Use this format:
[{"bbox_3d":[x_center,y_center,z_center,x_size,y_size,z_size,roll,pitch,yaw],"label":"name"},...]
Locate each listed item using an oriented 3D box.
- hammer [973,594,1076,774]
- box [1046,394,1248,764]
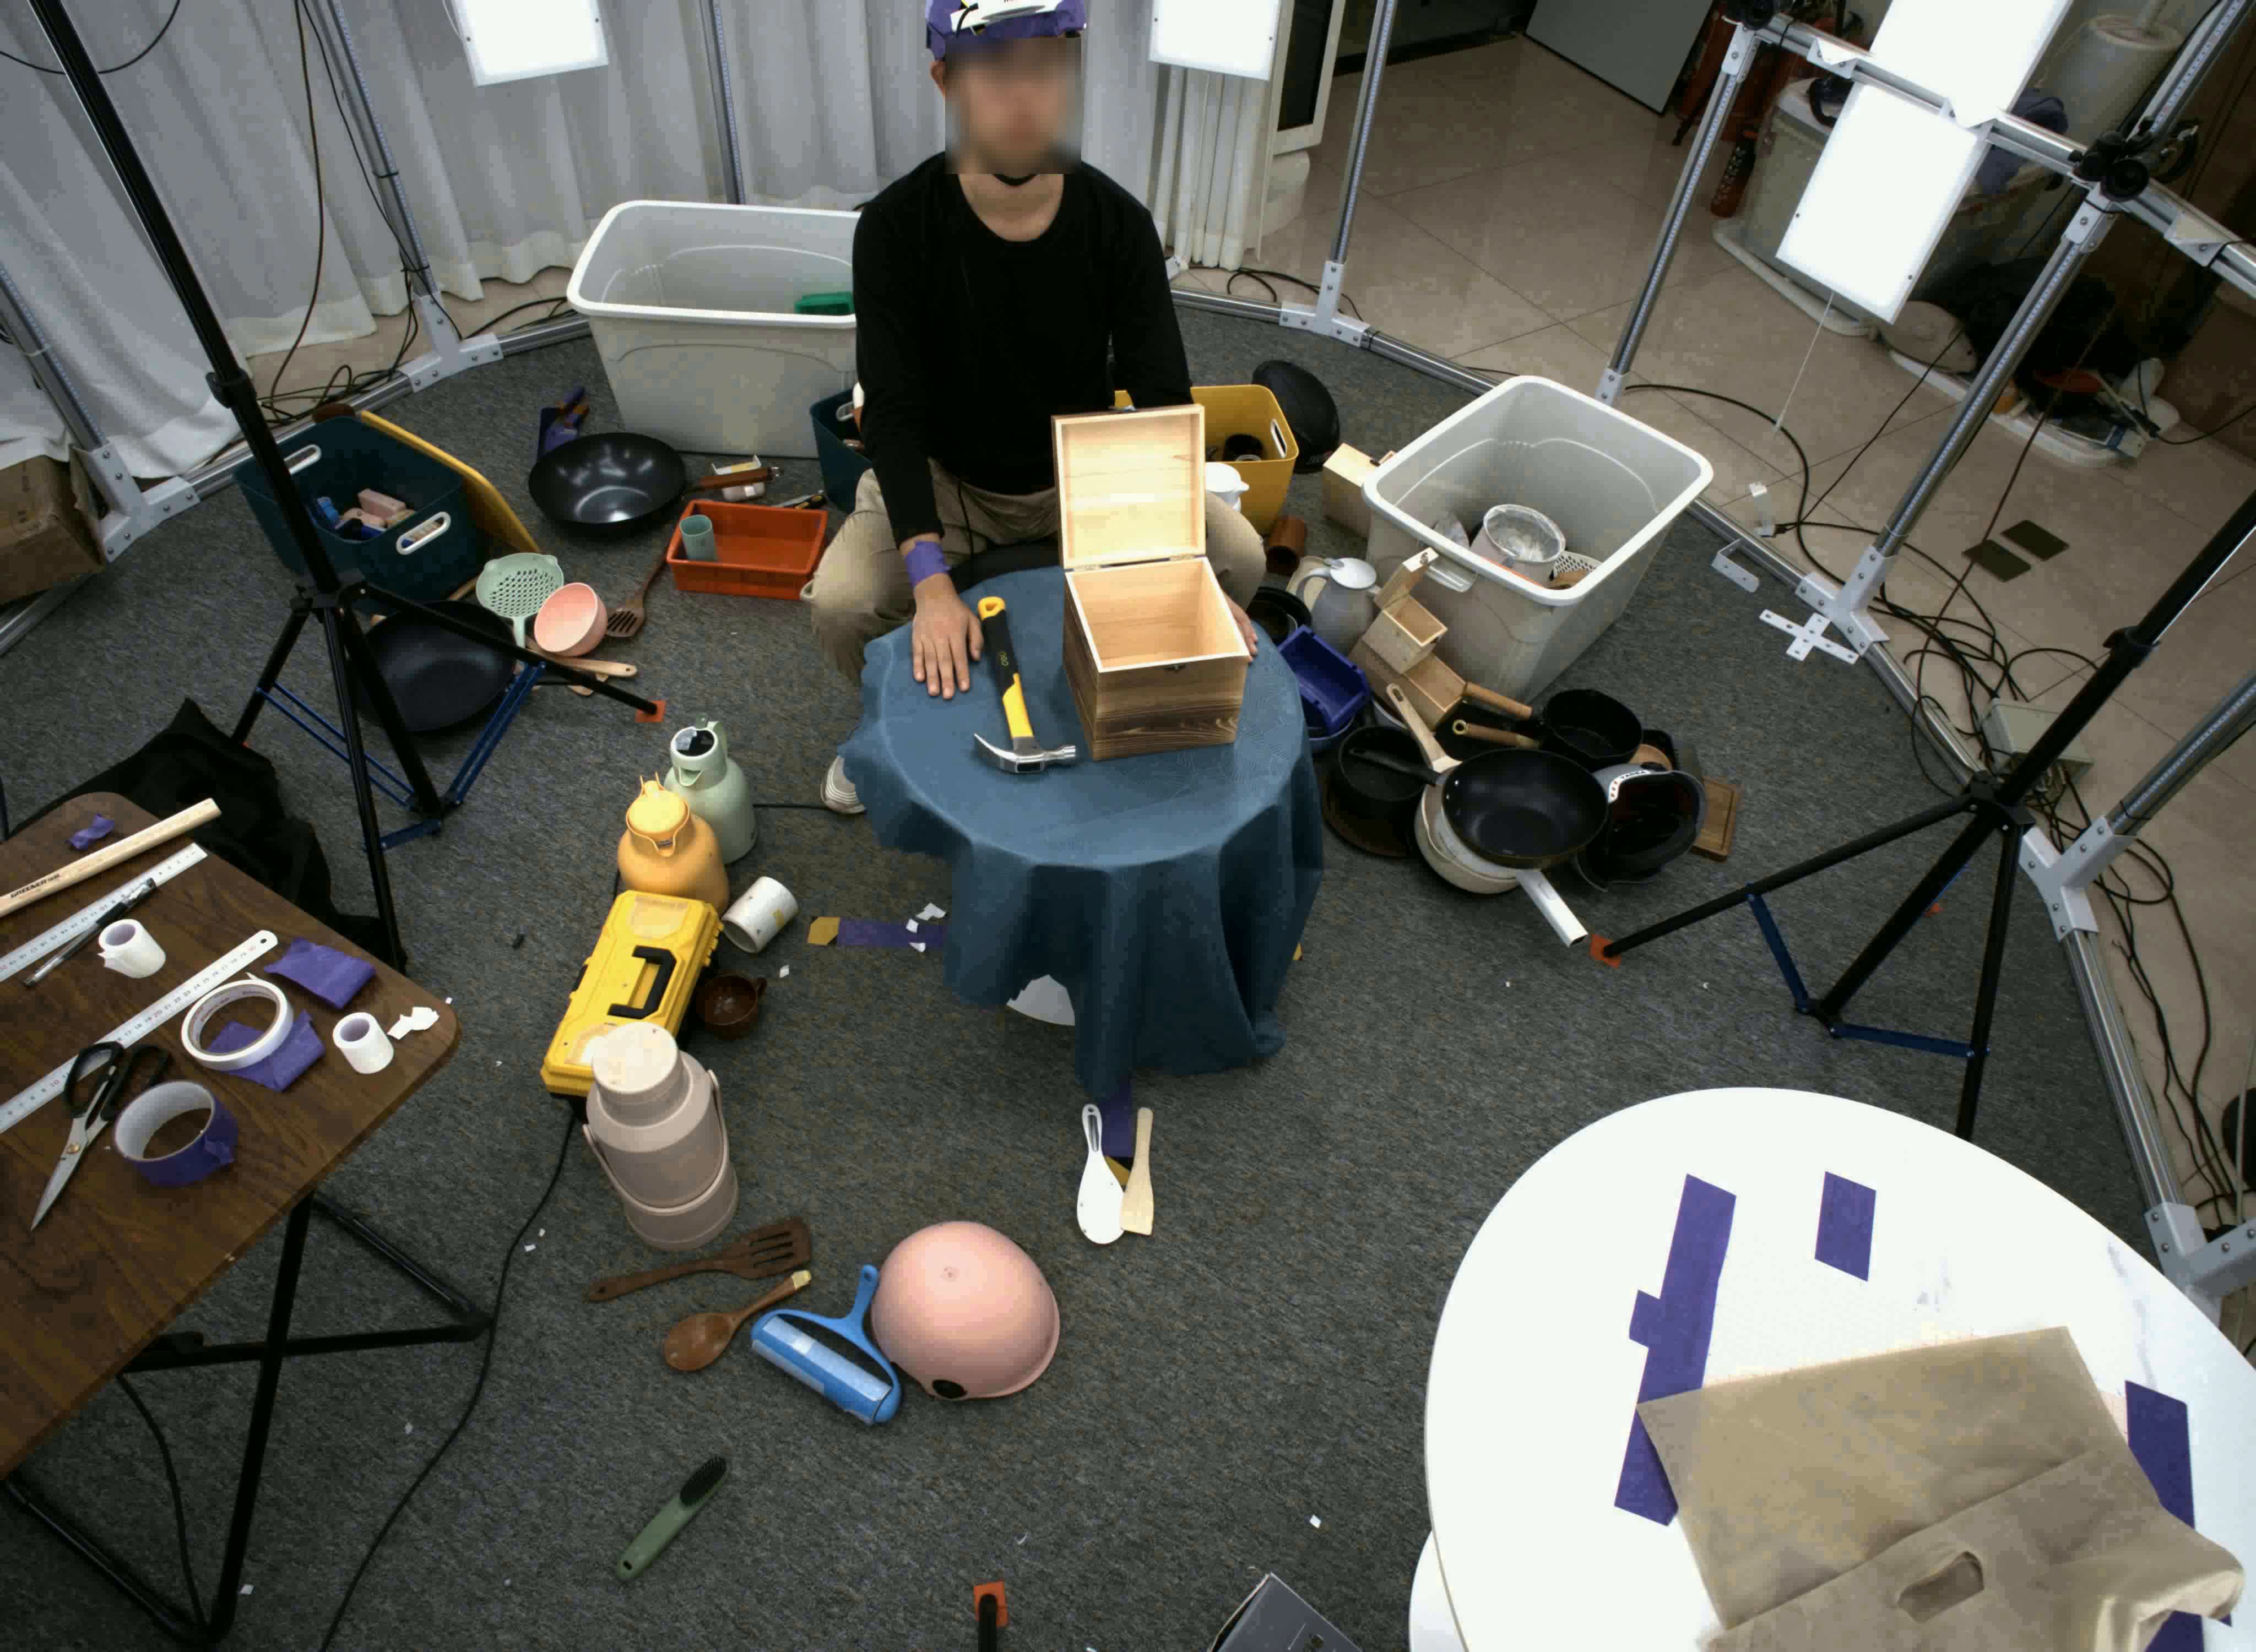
[{"bbox_3d":[-0.167,-0.209,1.816,0.131,0.031,0.347,-7,51,-9],"label":"hammer"},{"bbox_3d":[0.022,-0.328,1.726,0.208,0.366,0.330,-9,49,-10],"label":"box"}]
